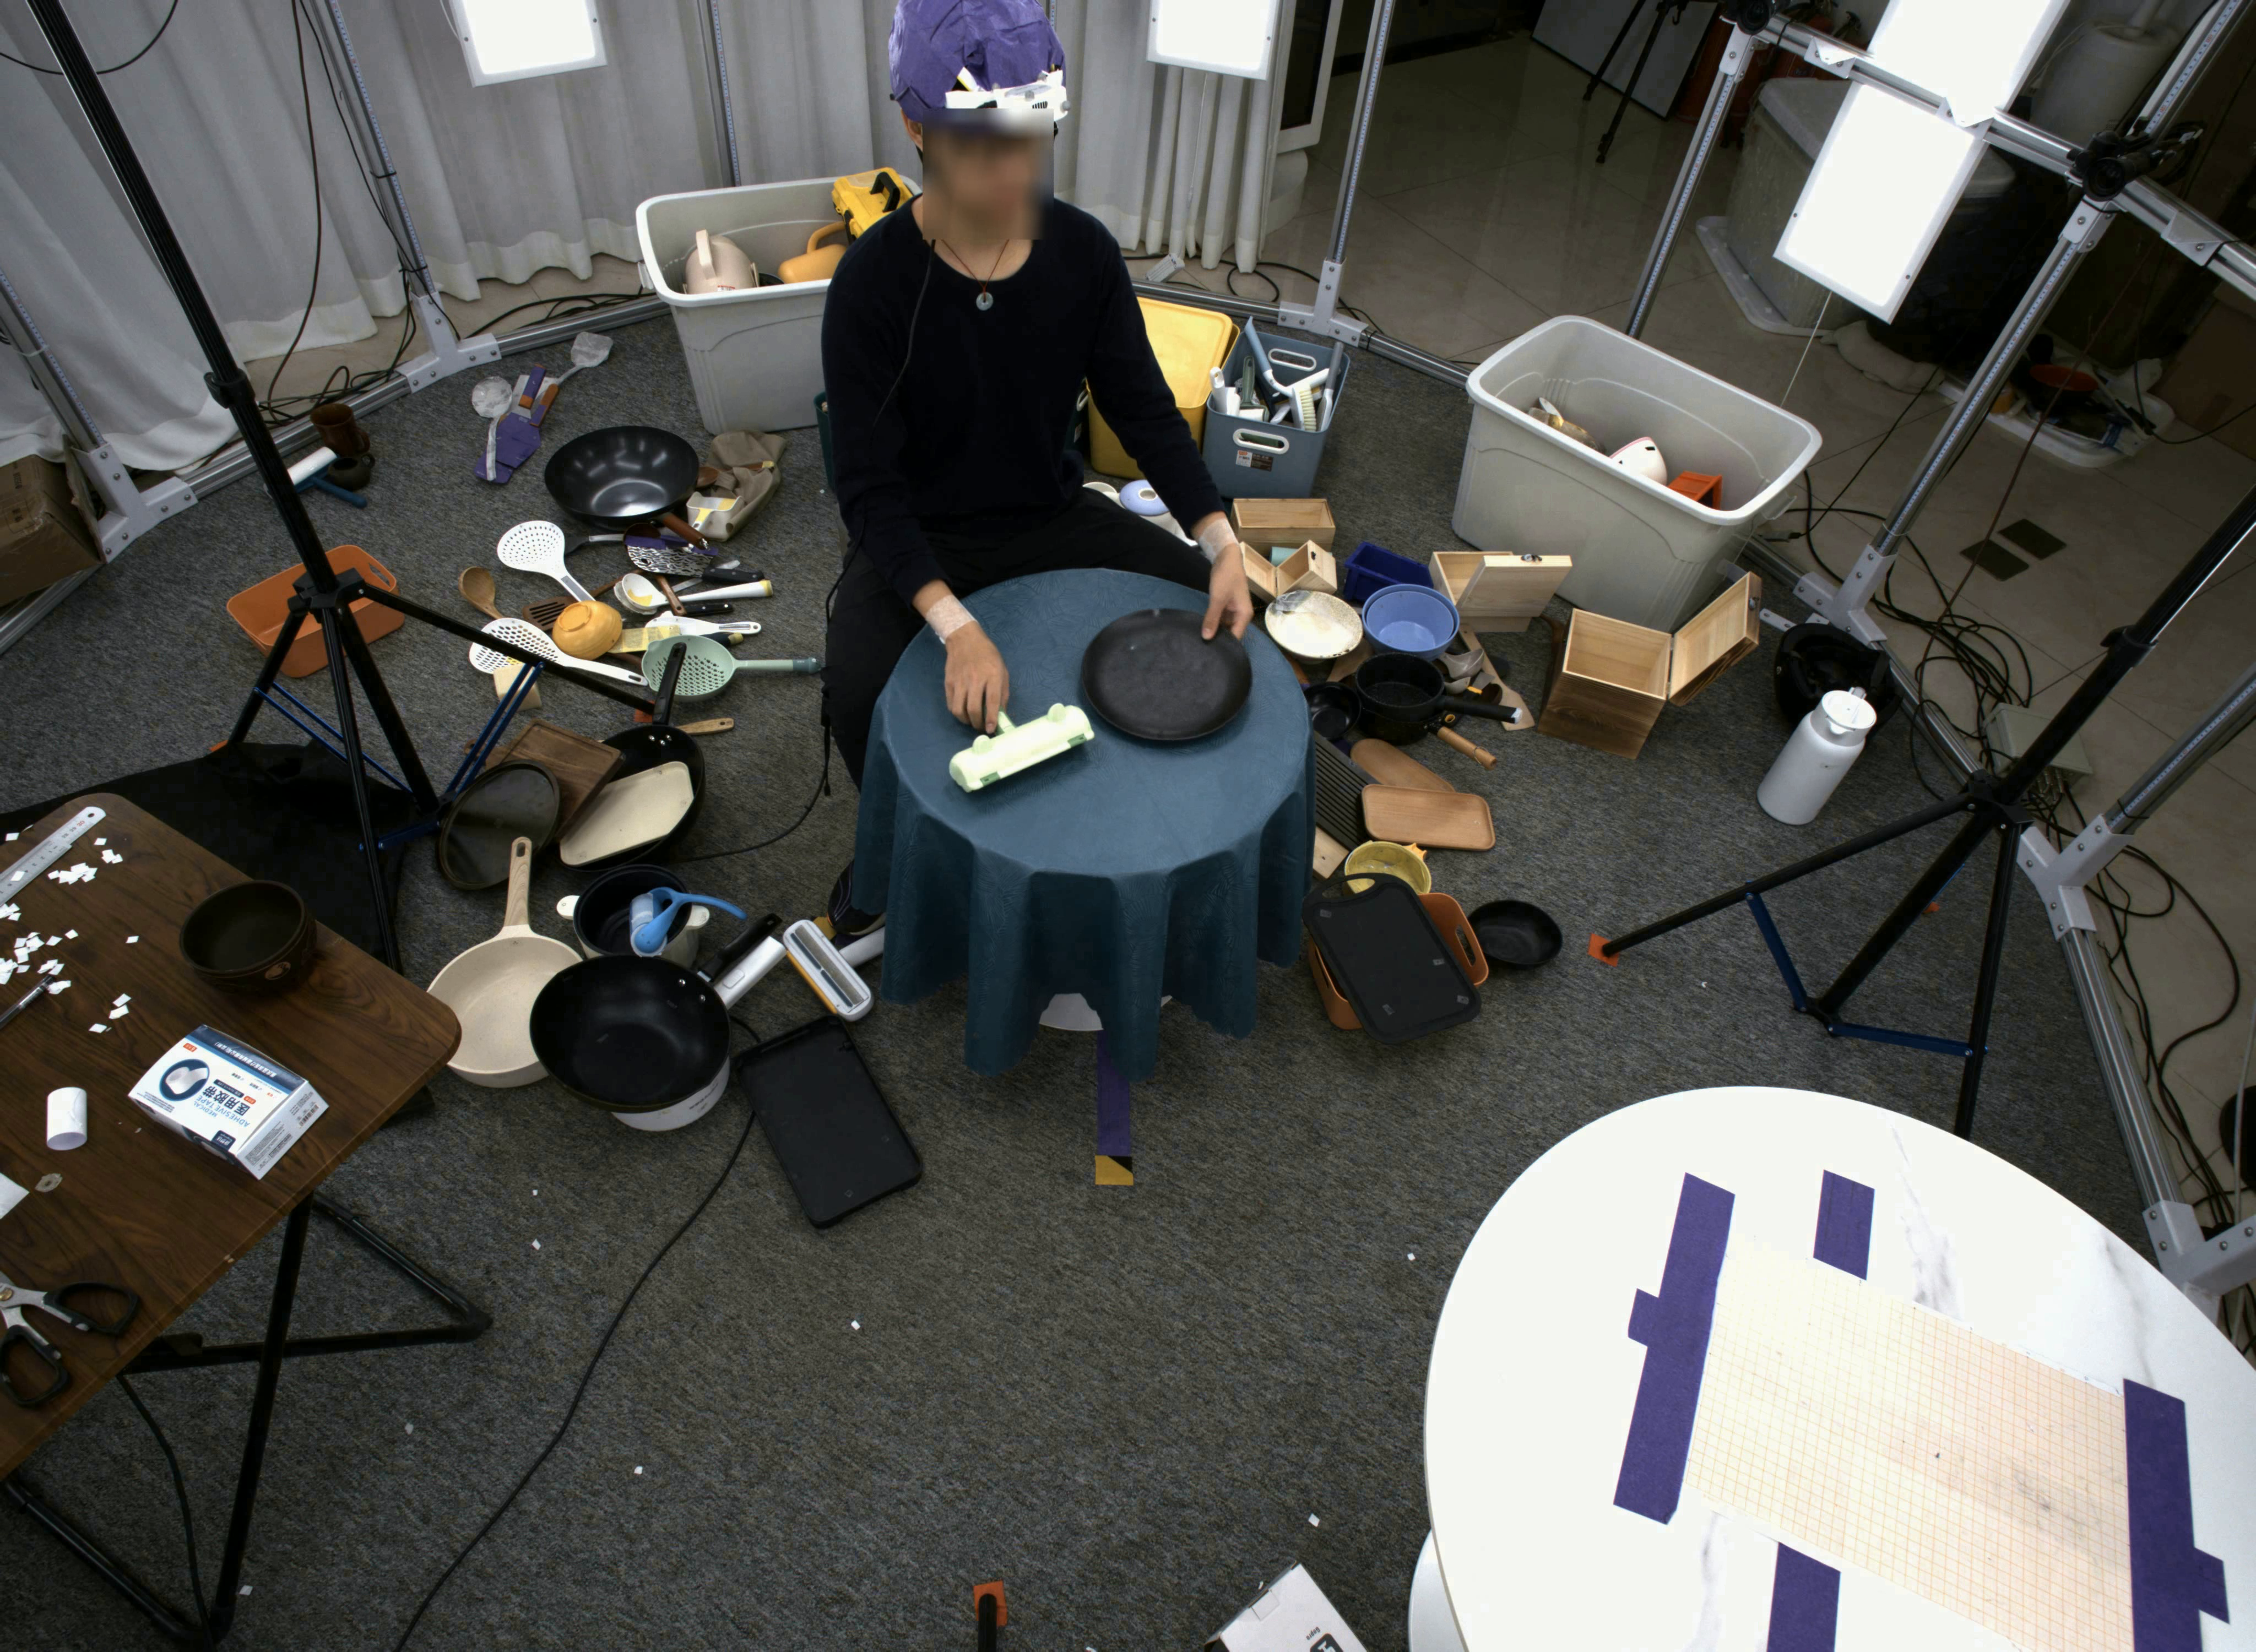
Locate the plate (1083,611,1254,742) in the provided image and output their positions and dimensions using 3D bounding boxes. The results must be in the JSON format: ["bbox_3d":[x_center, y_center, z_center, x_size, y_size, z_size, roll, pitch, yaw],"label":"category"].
[{"bbox_3d":[0.058,-0.211,1.829,0.244,0.023,0.250,0,54,-1],"label":"plate"}]

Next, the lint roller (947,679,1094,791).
[{"bbox_3d":[-0.172,-0.150,1.730,0.199,0.080,0.186,-25,63,-24],"label":"lint roller"}]
